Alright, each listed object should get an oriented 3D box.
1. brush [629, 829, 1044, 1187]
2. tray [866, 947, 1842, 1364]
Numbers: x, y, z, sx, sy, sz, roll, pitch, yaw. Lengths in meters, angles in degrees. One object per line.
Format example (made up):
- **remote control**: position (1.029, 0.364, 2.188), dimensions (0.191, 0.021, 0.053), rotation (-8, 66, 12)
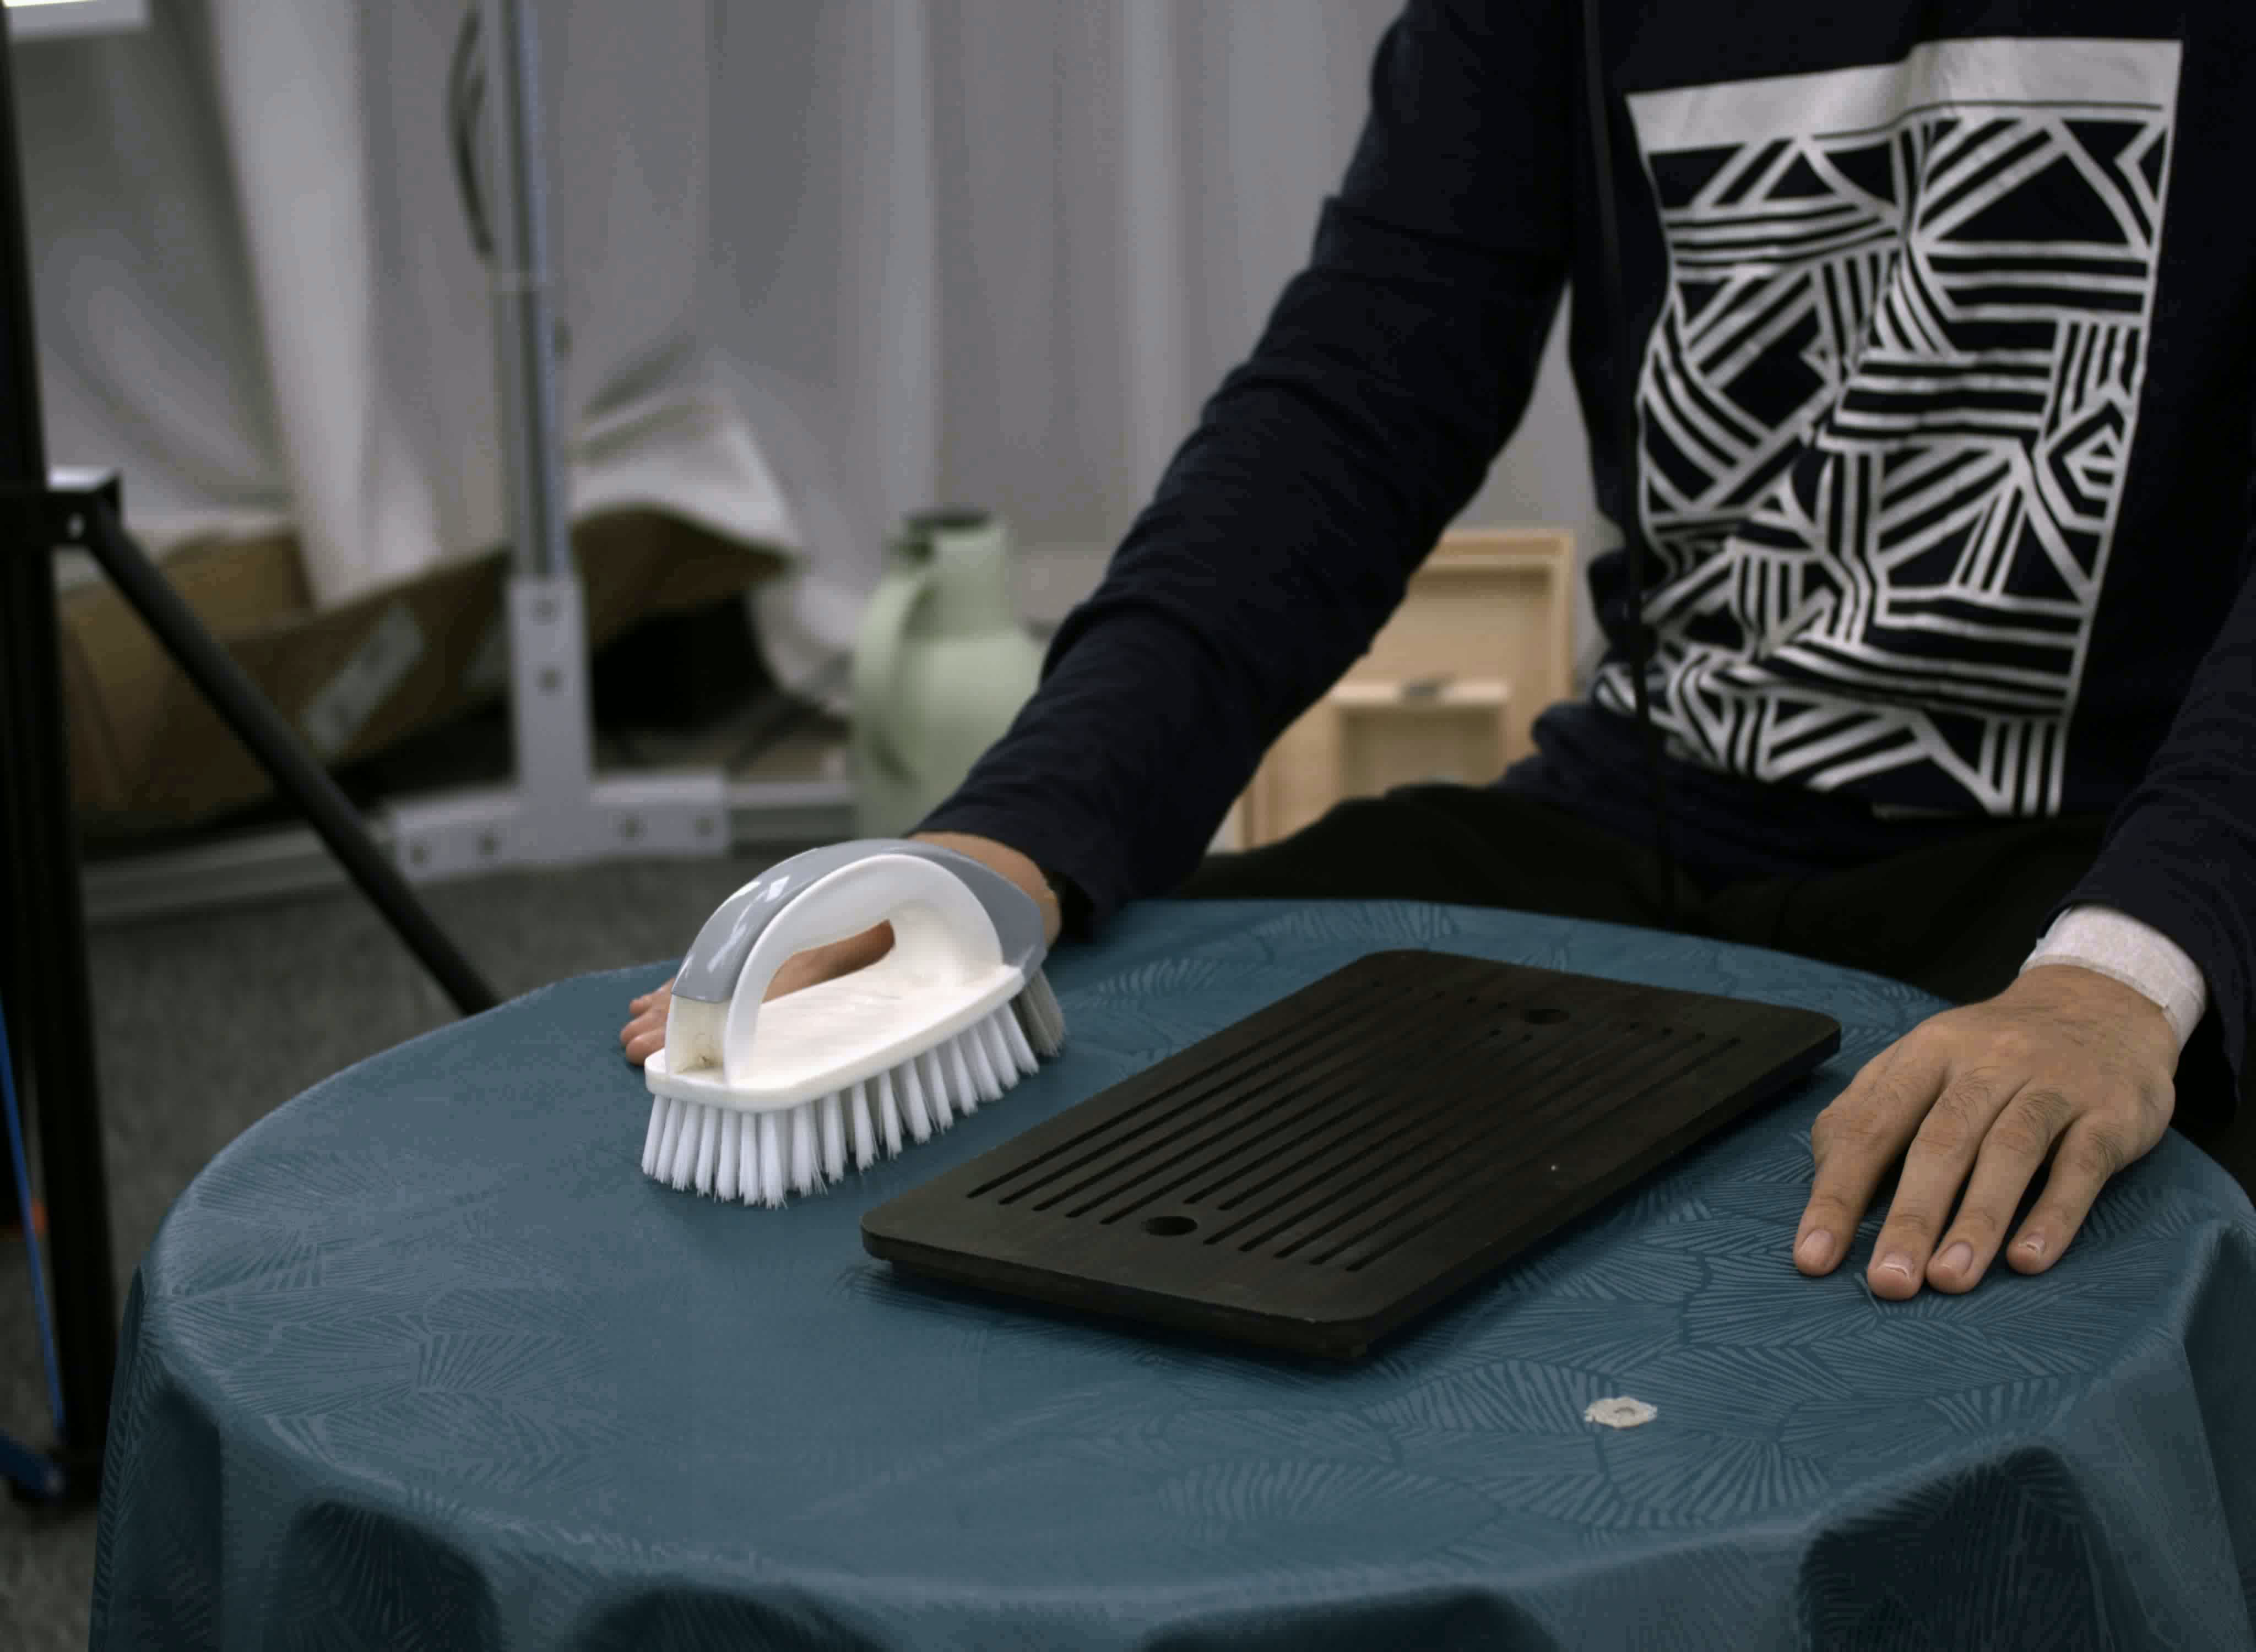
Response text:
- **brush**: position (-0.080, 0.045, 1.628), dimensions (0.063, 0.094, 0.172), rotation (9, 17, 37)
- **tray**: position (0.073, 0.094, 1.567), dimensions (0.173, 0.018, 0.300), rotation (8, 19, 33)
